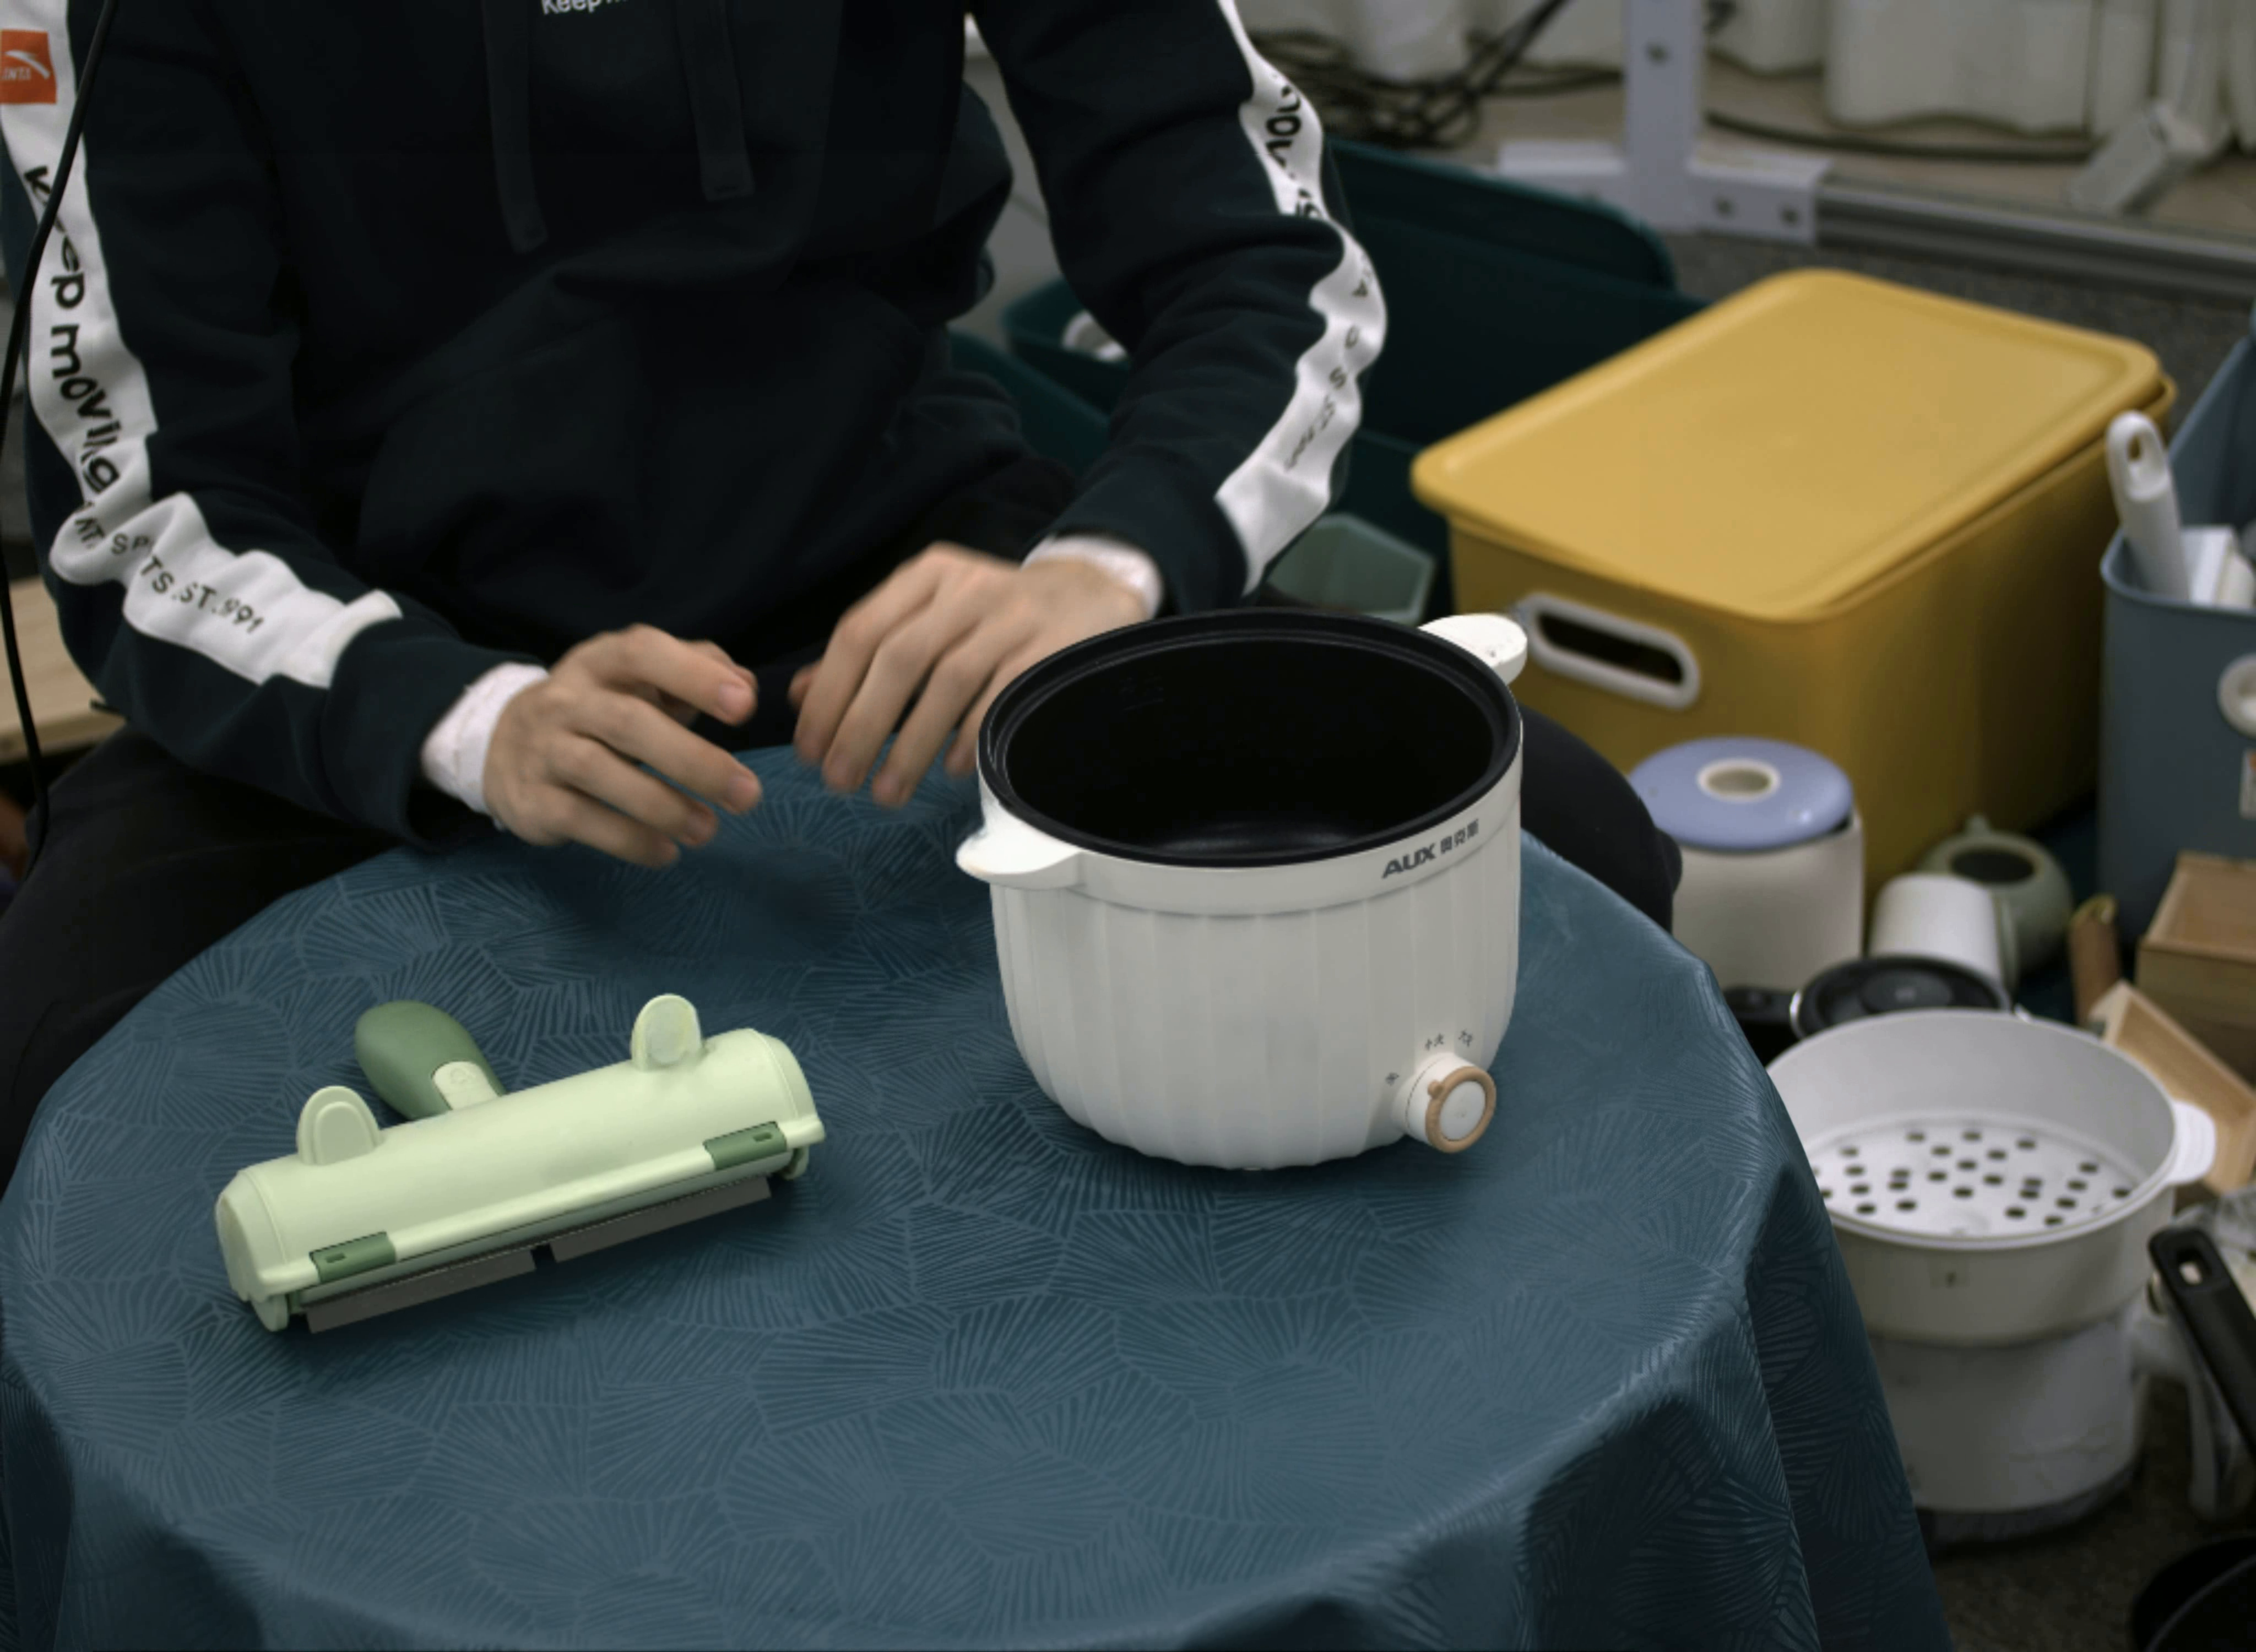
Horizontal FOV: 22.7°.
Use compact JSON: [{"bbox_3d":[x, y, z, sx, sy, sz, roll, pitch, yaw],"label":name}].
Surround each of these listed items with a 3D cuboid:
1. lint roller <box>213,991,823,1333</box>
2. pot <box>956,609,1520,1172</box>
[{"bbox_3d":[-0.223,0.083,1.875,0.199,0.081,0.185,-15,35,-21],"label":"lint roller"},{"bbox_3d":[0.048,0.027,1.890,0.243,0.141,0.190,-25,31,-34],"label":"pot"}]
